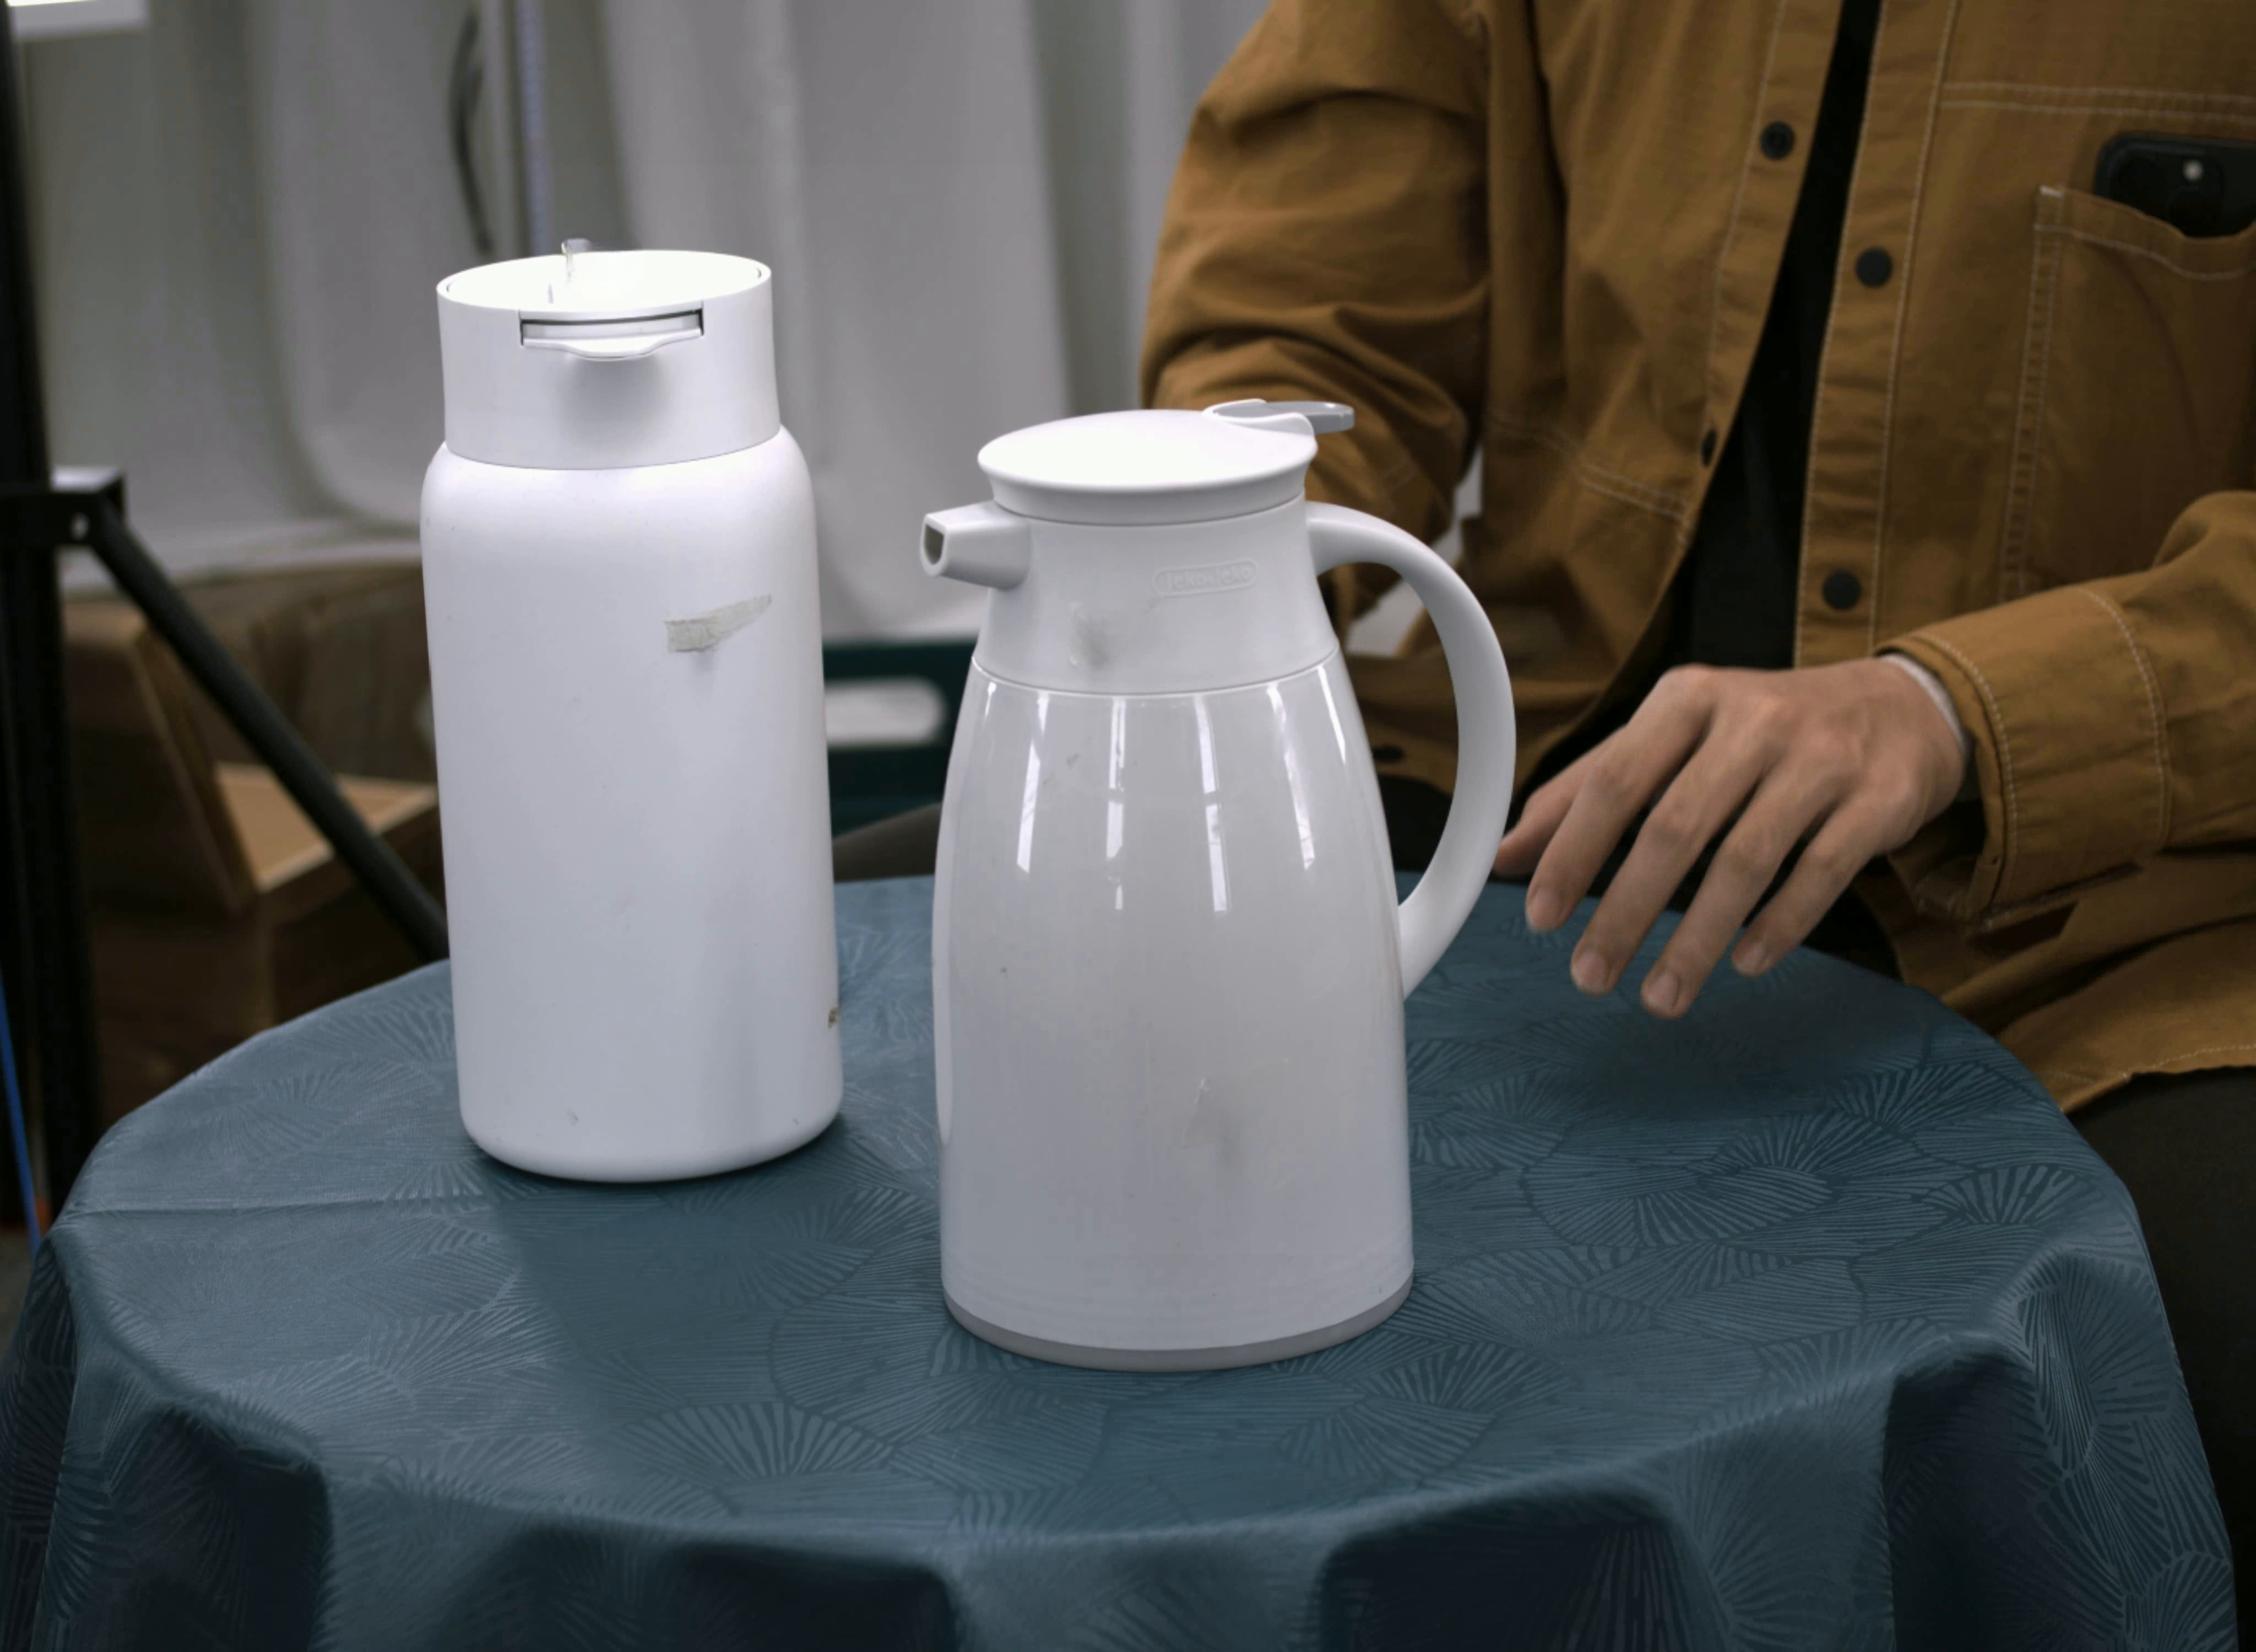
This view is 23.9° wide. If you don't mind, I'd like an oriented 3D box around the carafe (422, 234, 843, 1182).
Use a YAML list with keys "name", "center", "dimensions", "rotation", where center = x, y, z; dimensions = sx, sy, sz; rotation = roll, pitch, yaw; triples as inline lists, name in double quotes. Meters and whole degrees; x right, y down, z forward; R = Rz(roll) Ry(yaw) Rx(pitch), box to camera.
- name: "carafe"
  center: [-0.152, -0.040, 1.613]
  dimensions: [0.122, 0.269, 0.174]
  rotation: [-6, 15, -6]

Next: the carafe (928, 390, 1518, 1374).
- name: "carafe"
  center: [0.027, 0.007, 1.453]
  dimensions: [0.164, 0.248, 0.135]
  rotation: [-7, 16, -19]
